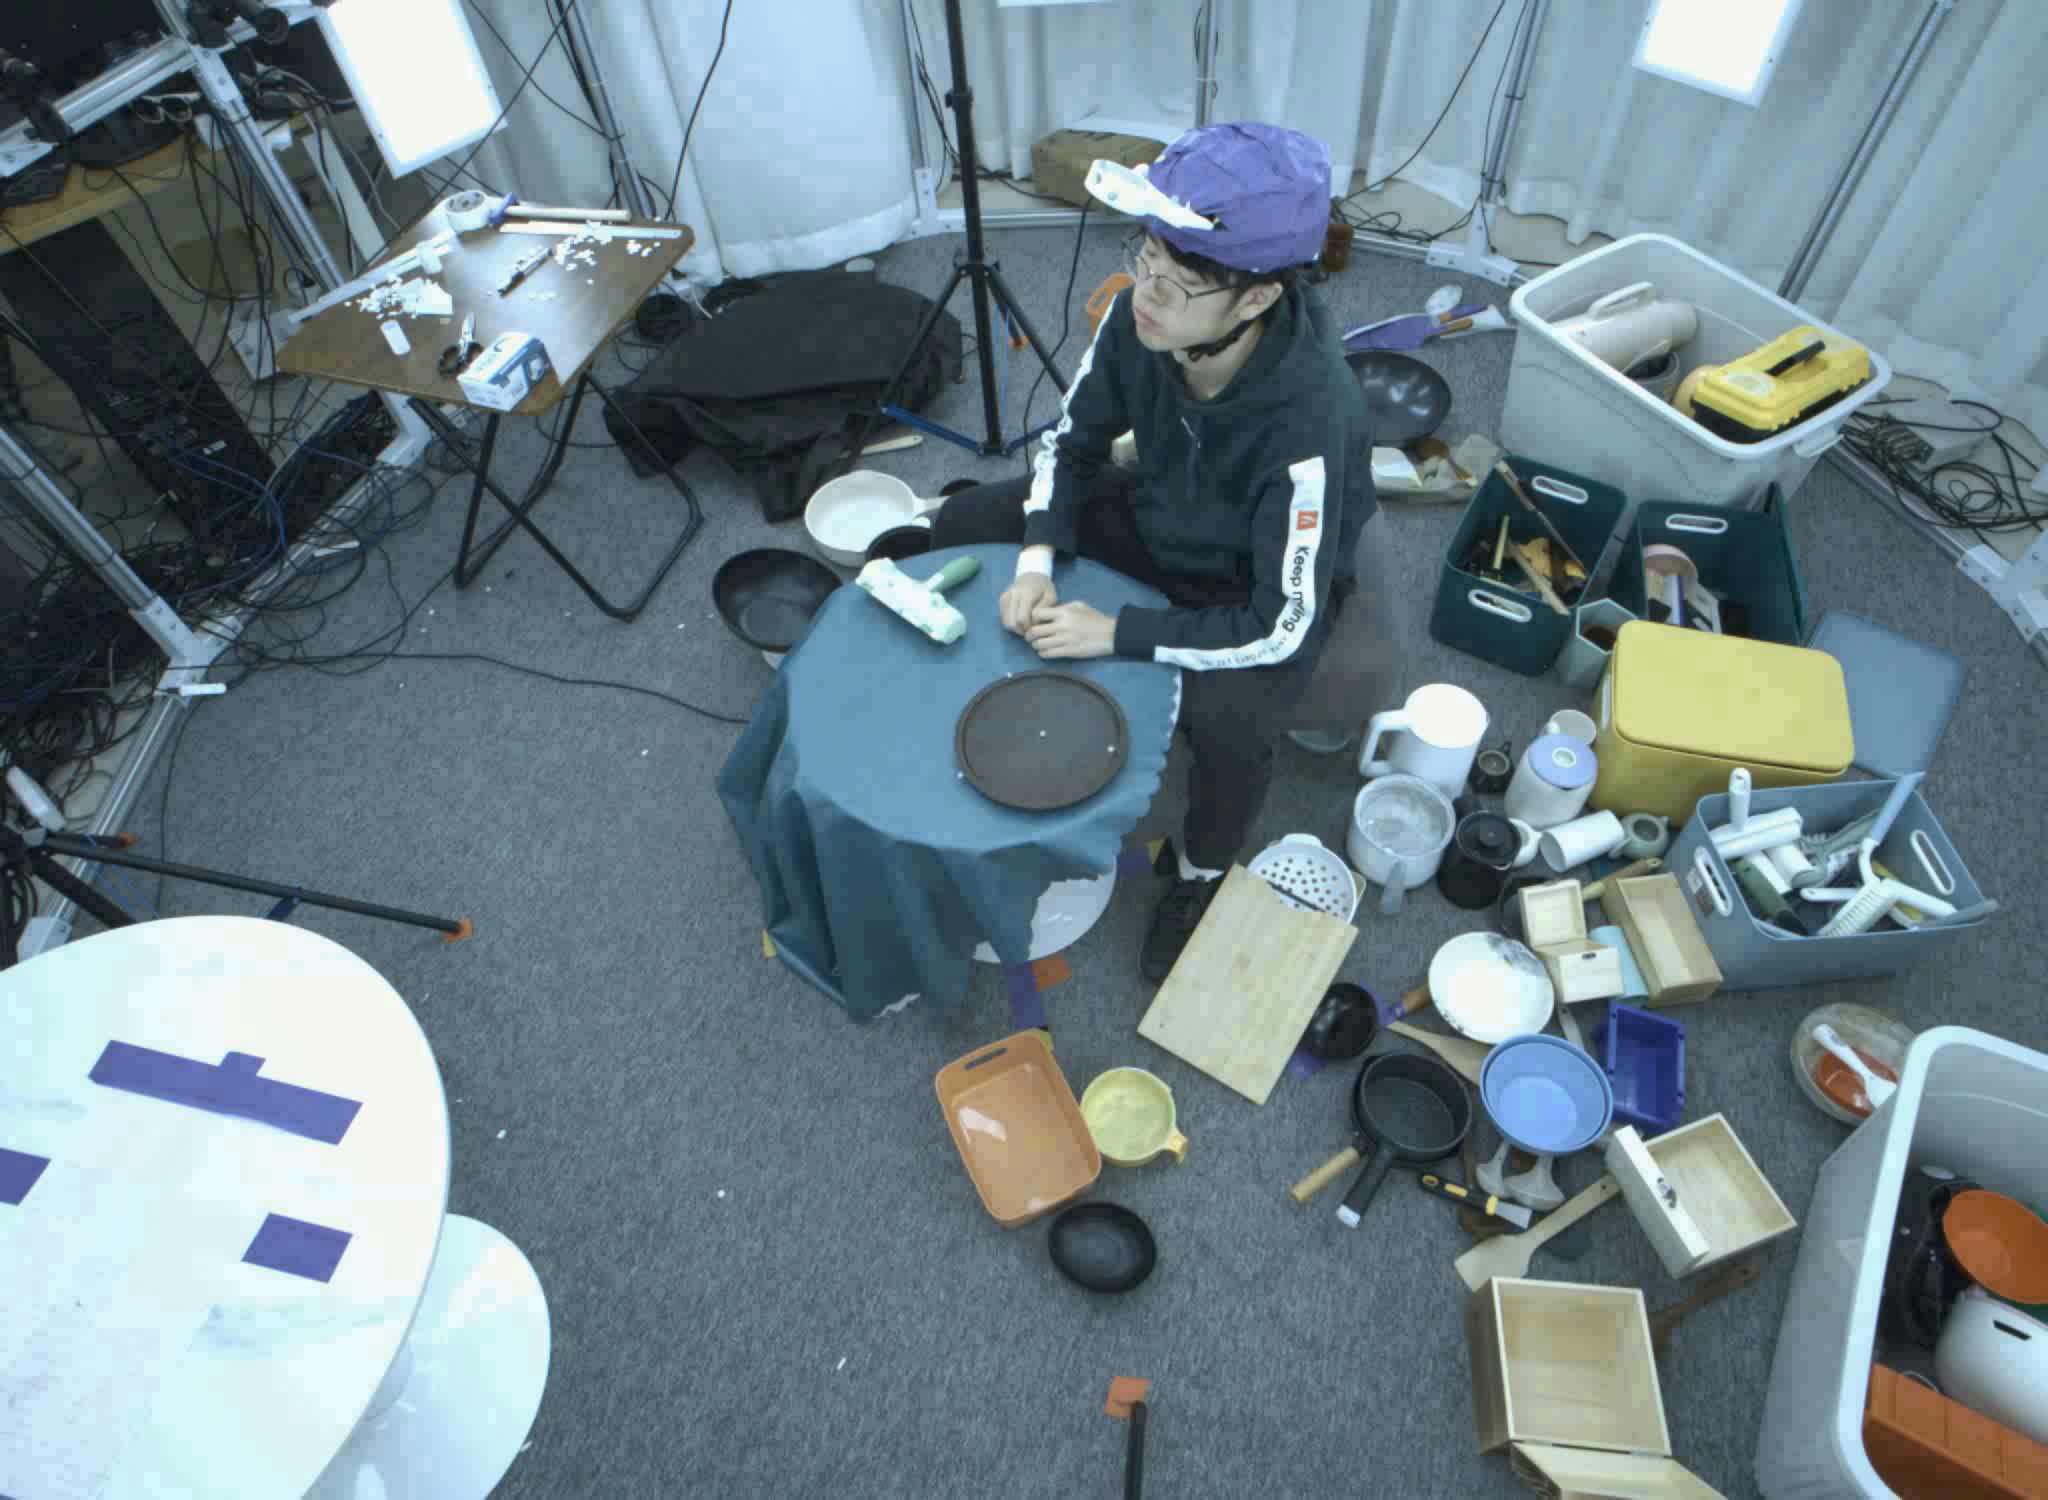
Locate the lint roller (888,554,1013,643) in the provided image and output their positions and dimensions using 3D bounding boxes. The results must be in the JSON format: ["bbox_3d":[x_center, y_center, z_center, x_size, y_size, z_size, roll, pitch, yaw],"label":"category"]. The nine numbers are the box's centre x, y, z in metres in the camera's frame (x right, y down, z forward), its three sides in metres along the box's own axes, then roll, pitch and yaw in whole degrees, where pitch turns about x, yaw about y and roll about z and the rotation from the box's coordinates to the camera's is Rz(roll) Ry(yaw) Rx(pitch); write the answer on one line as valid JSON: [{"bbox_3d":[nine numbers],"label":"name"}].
[{"bbox_3d":[-0.089,-0.273,1.931,0.195,0.083,0.184,38,68,25],"label":"lint roller"}]

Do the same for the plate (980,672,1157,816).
[{"bbox_3d":[0.064,-0.009,1.772,0.254,0.029,0.252,-1,53,2],"label":"plate"}]
